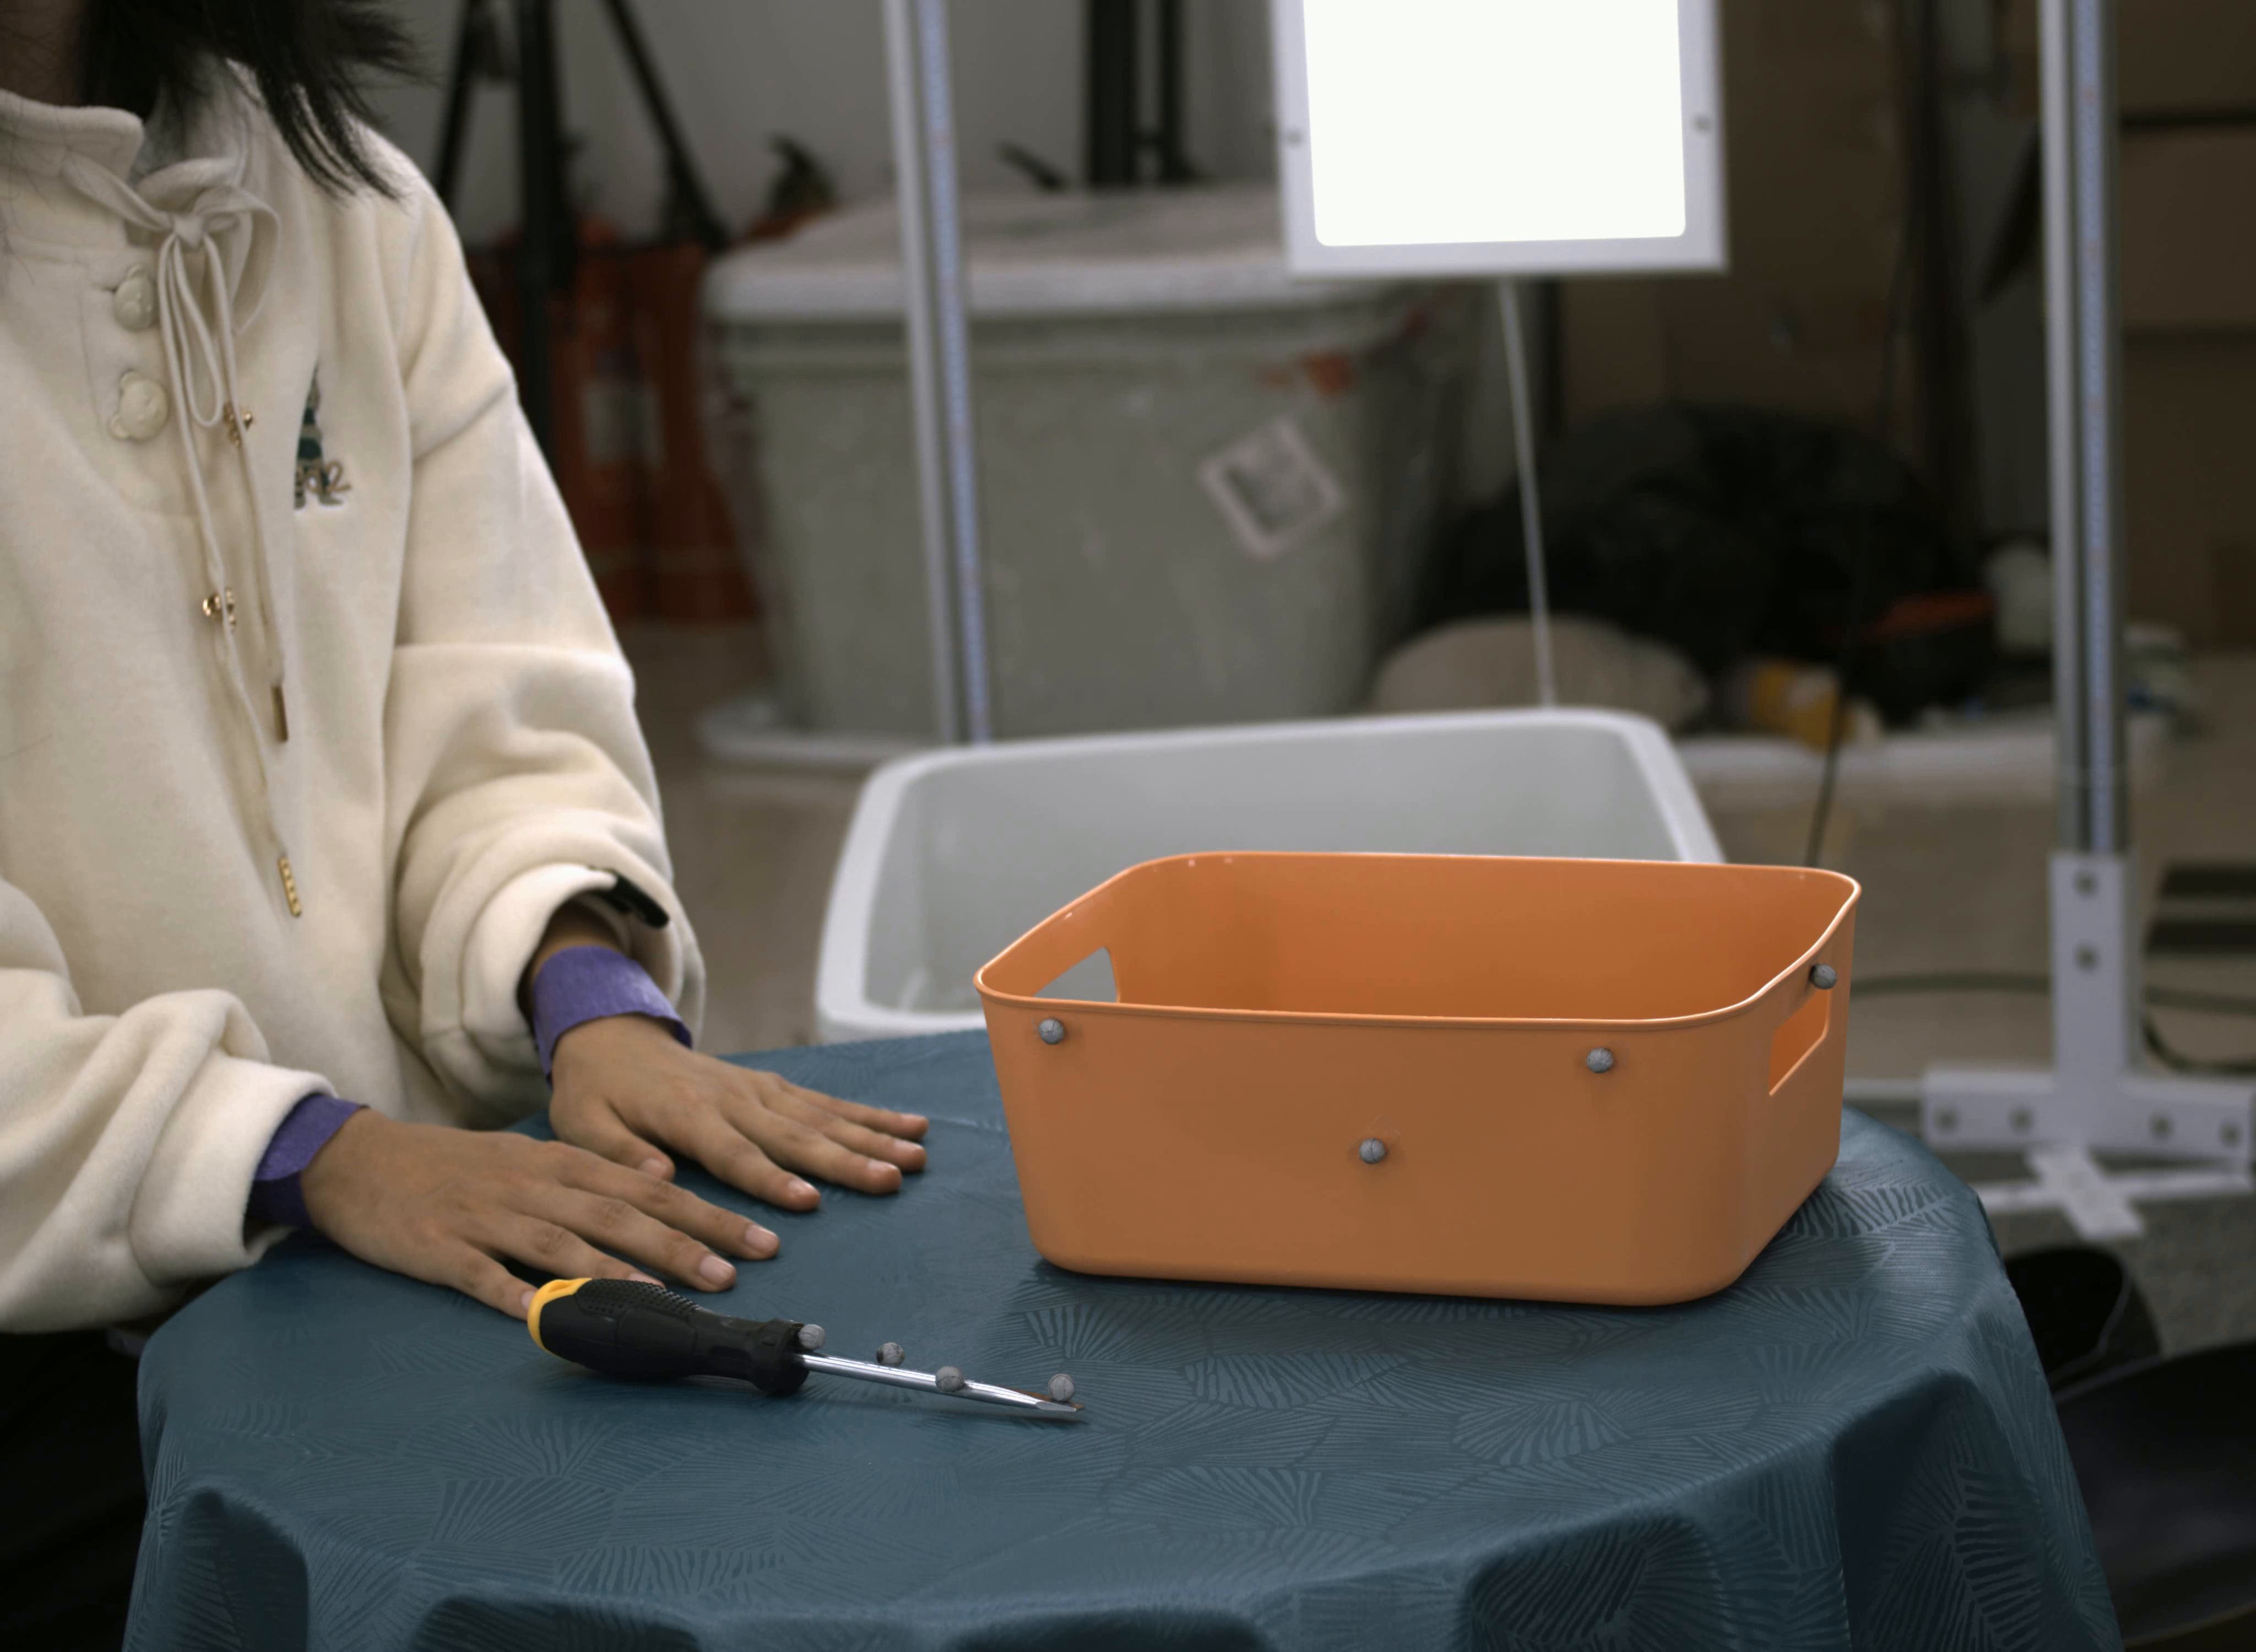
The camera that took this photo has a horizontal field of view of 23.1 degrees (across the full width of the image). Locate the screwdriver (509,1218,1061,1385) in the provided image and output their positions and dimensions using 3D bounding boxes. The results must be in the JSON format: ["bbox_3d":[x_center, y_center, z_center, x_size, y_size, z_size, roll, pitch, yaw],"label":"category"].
[{"bbox_3d":[-0.107,0.153,1.734,0.201,0.031,0.031,11,19,24],"label":"screwdriver"}]

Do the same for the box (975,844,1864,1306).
[{"bbox_3d":[0.102,0.080,1.829,0.277,0.103,0.195,1,16,24],"label":"box"}]
